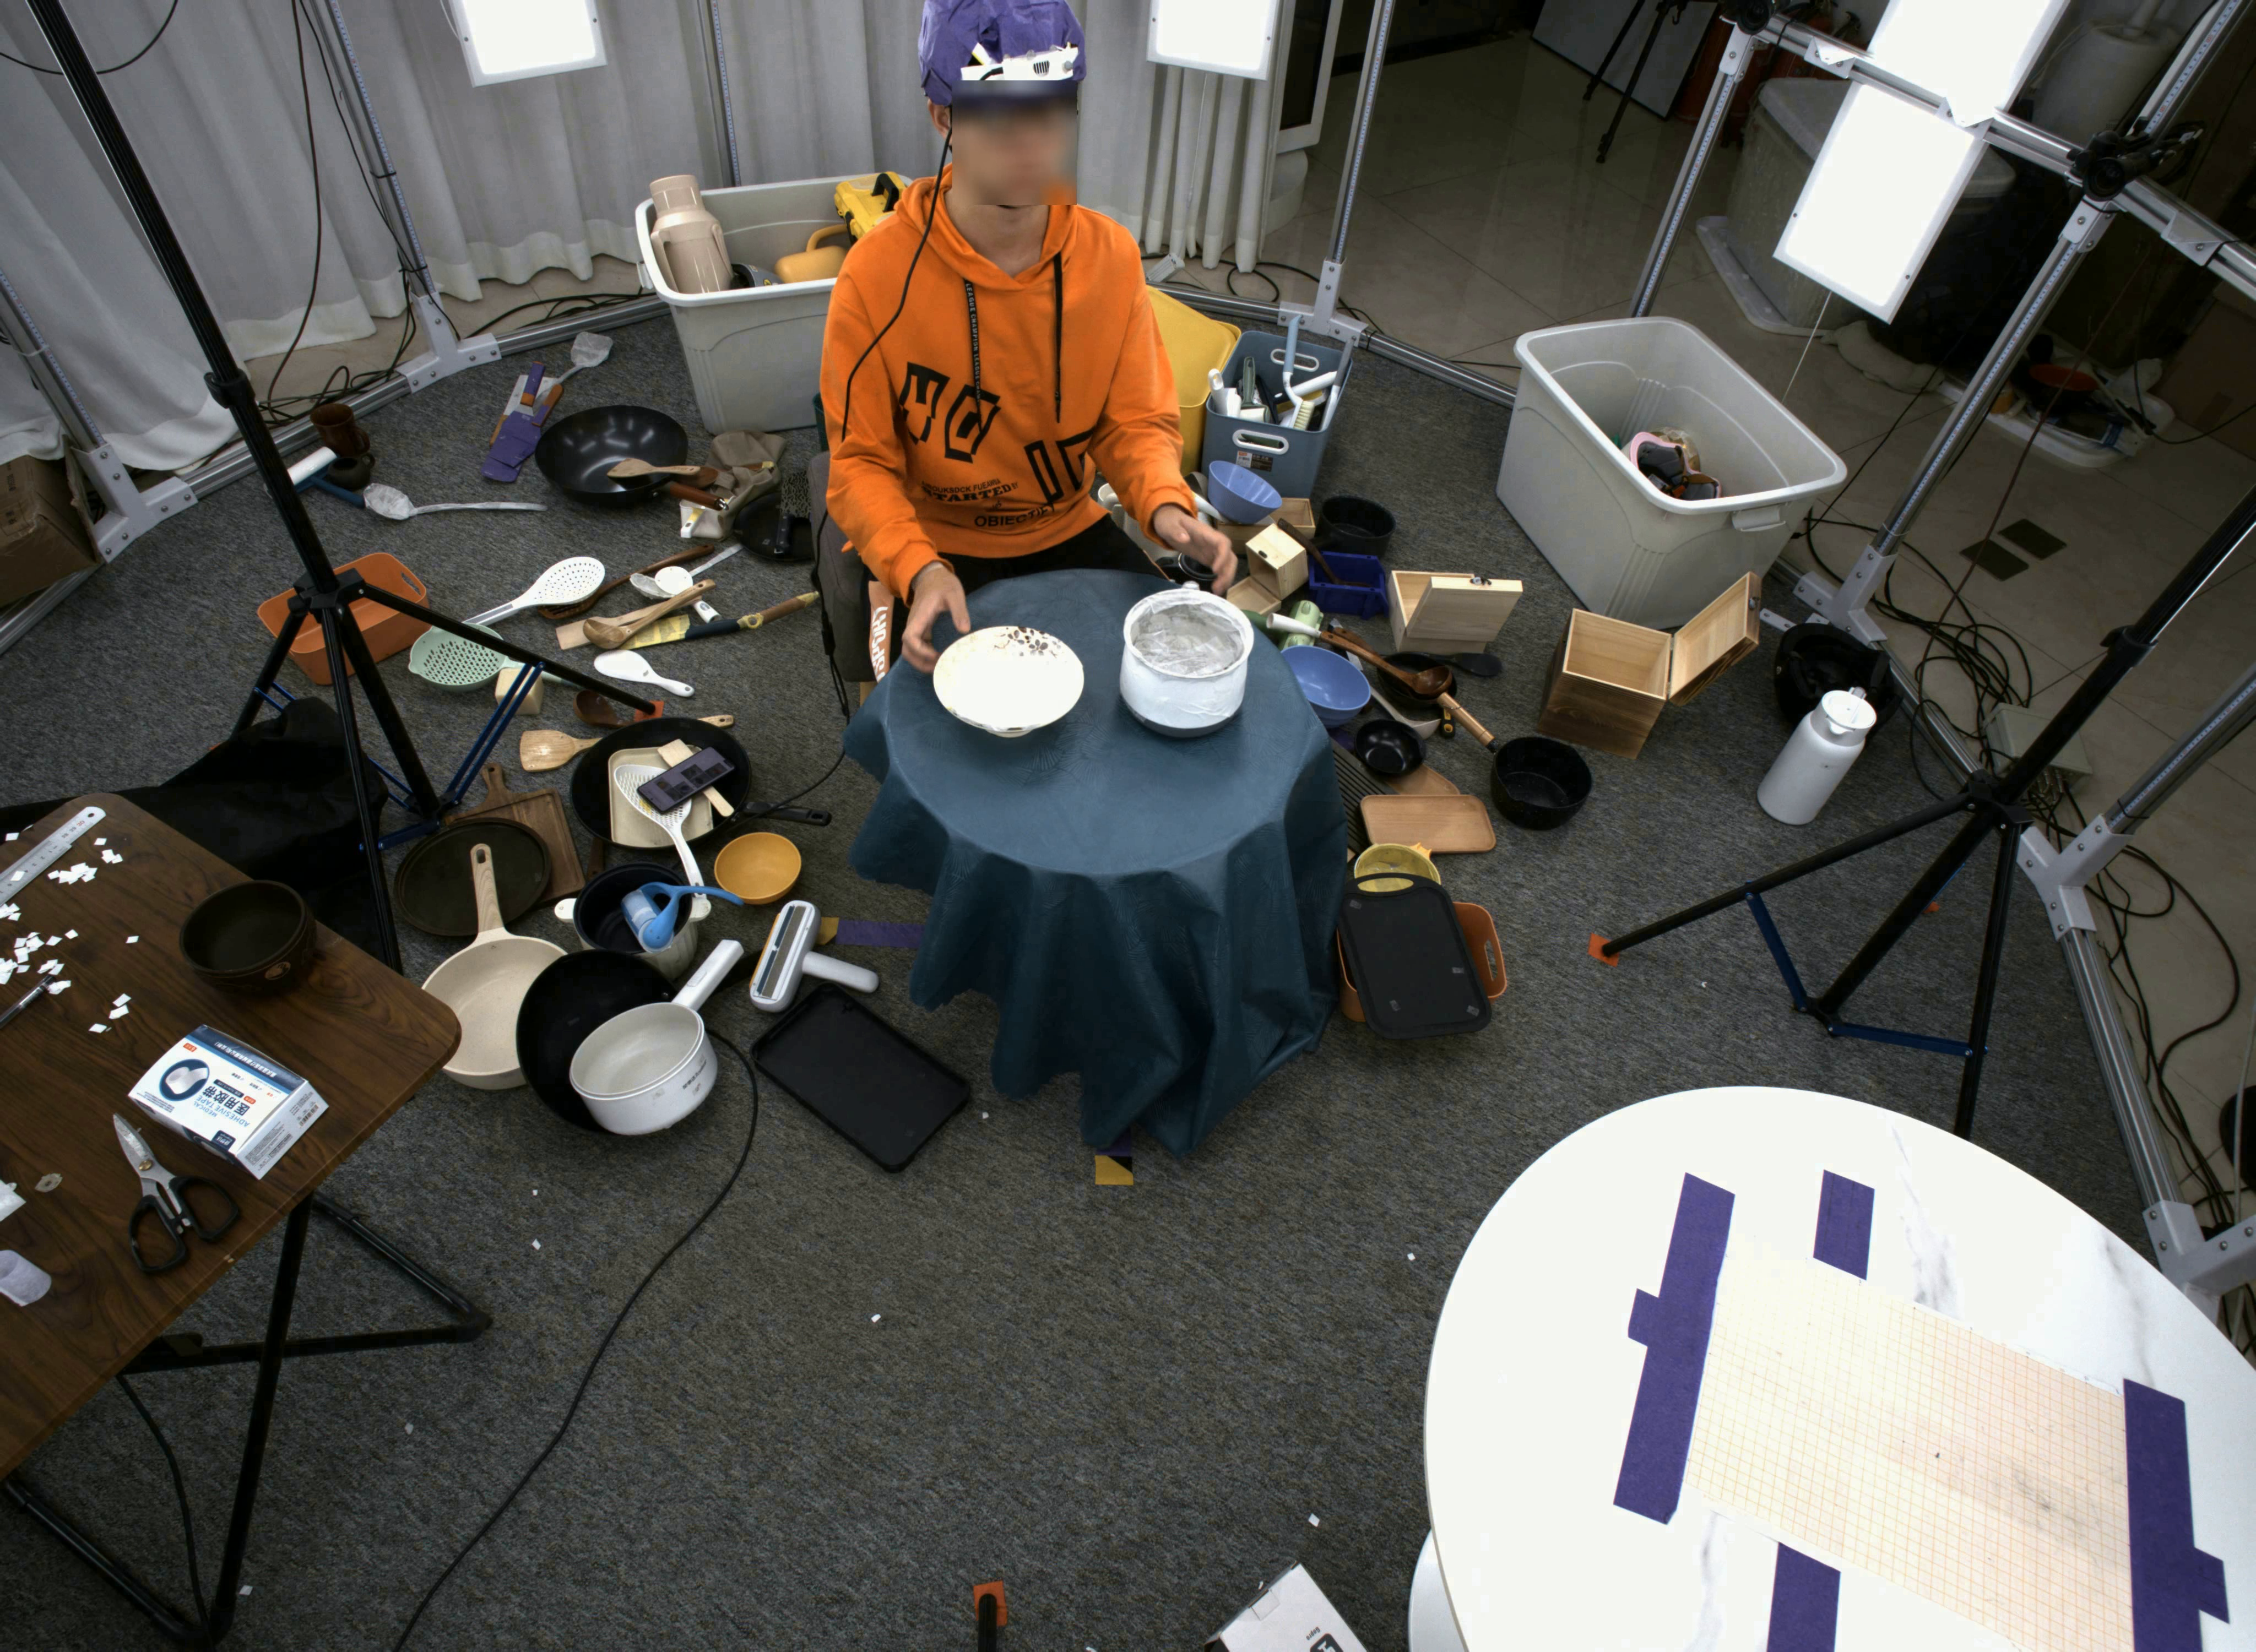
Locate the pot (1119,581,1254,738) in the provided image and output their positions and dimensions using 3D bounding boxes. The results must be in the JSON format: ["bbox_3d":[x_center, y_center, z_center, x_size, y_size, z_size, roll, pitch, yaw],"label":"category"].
[{"bbox_3d":[0.079,-0.243,1.796,0.178,0.133,0.239,4,49,-1],"label":"pot"}]

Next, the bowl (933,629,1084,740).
[{"bbox_3d":[-0.162,-0.176,1.763,0.204,0.076,0.209,1,47,-1],"label":"bowl"}]
